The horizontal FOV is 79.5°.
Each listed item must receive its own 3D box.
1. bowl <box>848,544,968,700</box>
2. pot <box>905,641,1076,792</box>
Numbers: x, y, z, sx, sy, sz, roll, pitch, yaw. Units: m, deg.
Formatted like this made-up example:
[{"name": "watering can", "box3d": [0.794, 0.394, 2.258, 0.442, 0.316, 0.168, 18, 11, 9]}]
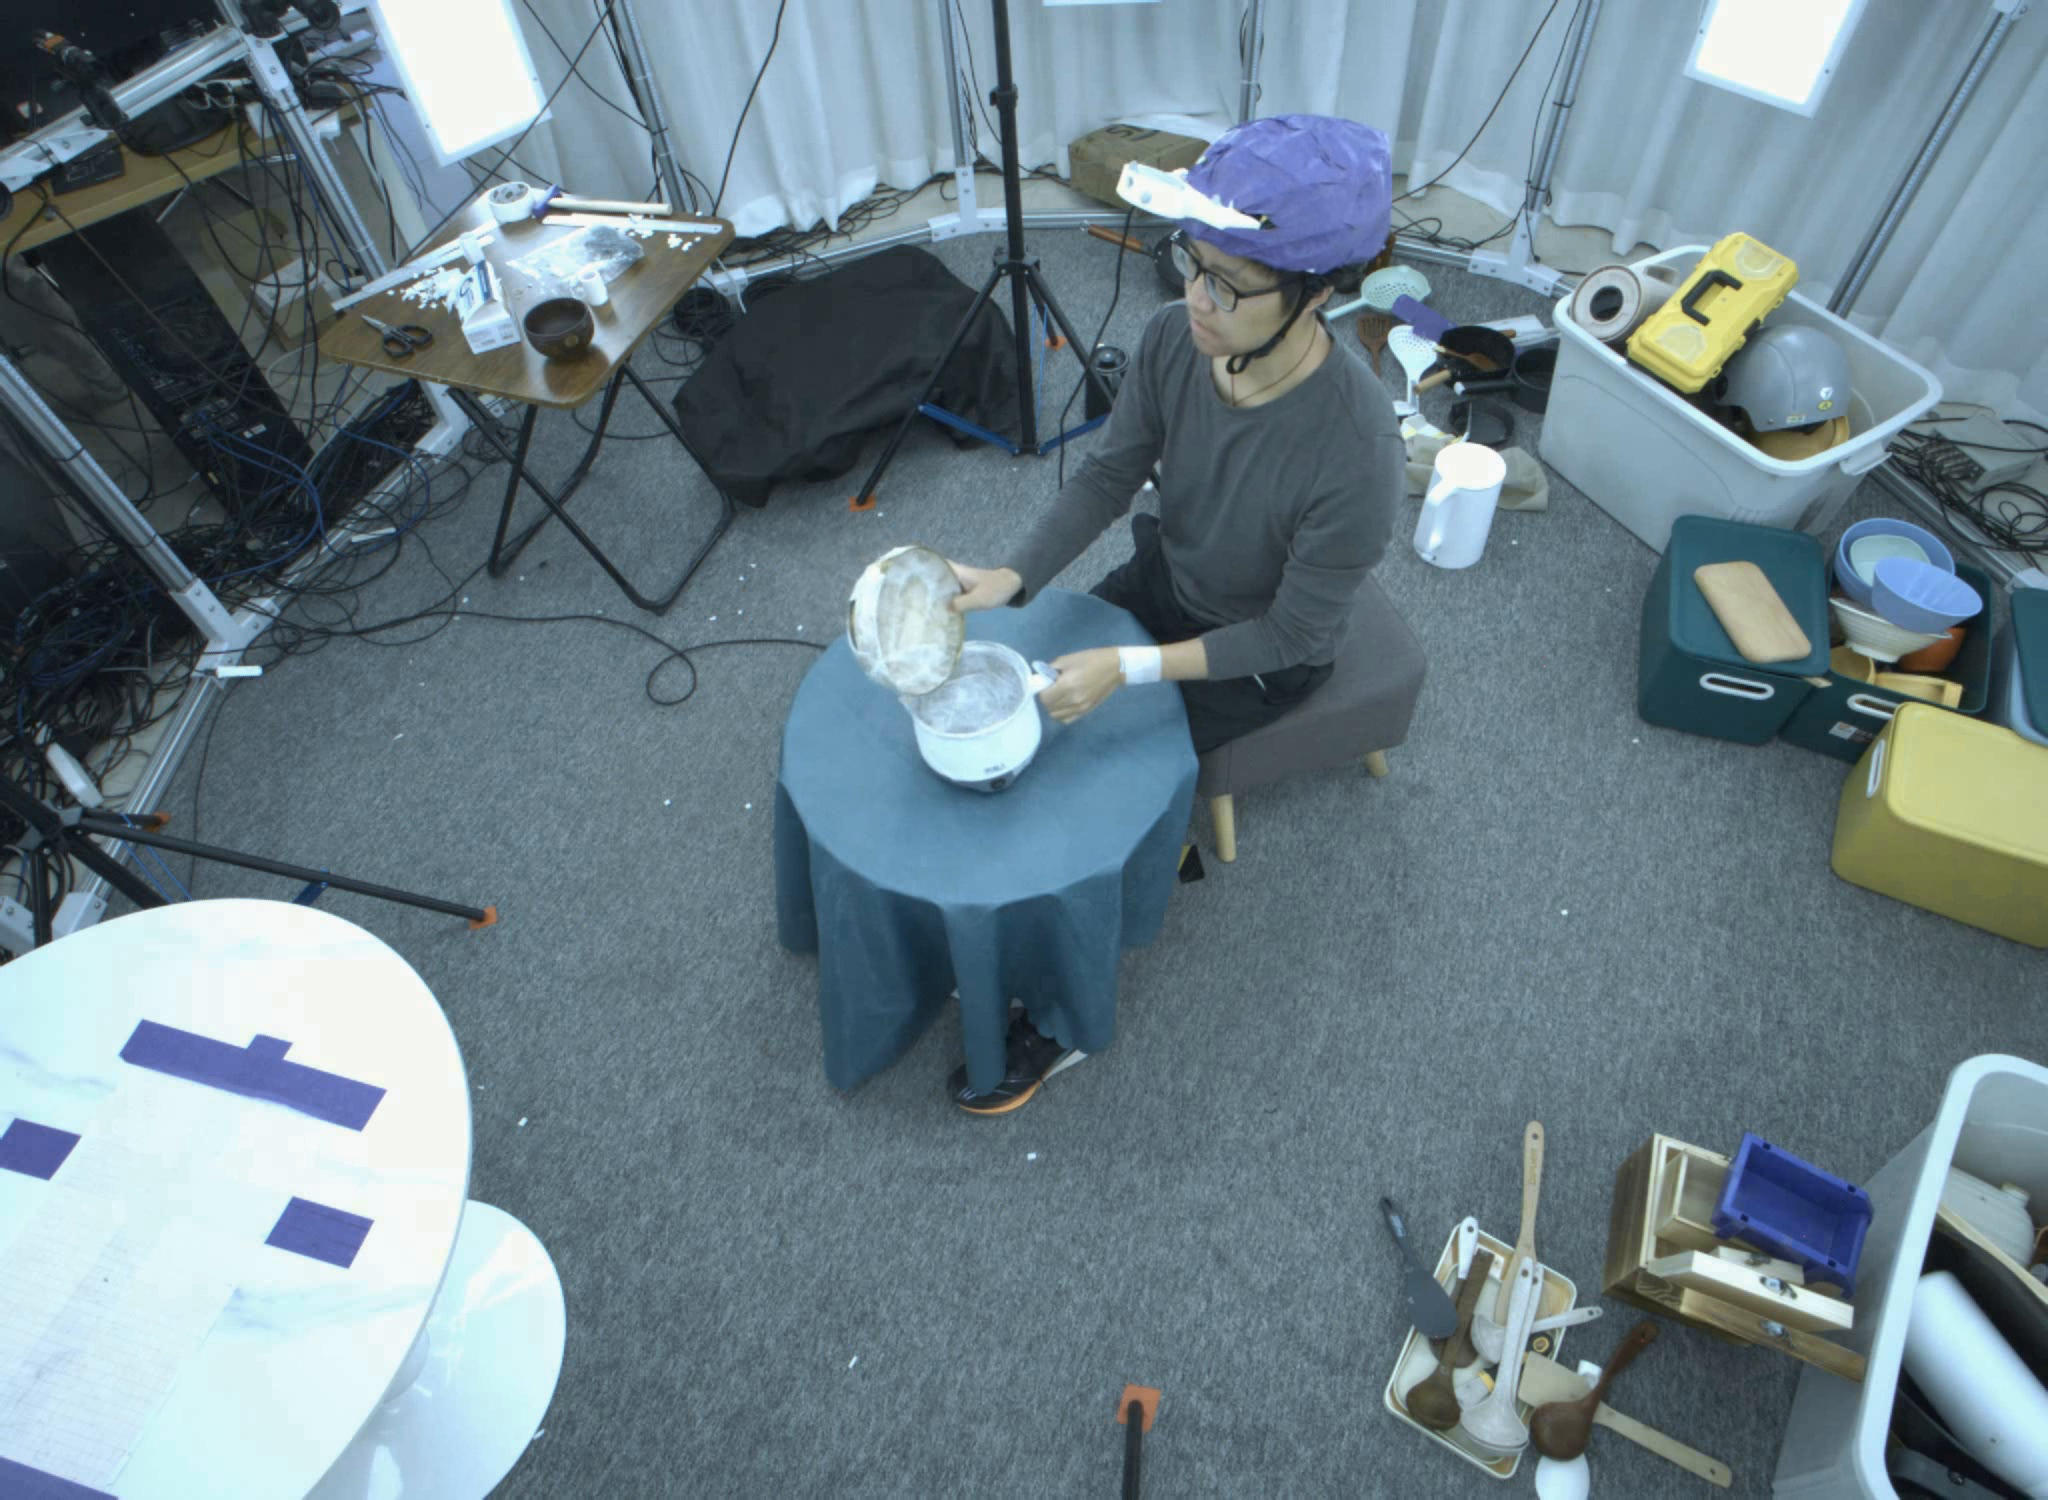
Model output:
[{"name": "bowl", "box3d": [-0.171, -0.175, 1.659, 0.093, 0.219, 0.214, 3, 52, 30]}, {"name": "pot", "box3d": [-0.042, -0.056, 1.744, 0.235, 0.138, 0.175, -19, 53, -8]}]
